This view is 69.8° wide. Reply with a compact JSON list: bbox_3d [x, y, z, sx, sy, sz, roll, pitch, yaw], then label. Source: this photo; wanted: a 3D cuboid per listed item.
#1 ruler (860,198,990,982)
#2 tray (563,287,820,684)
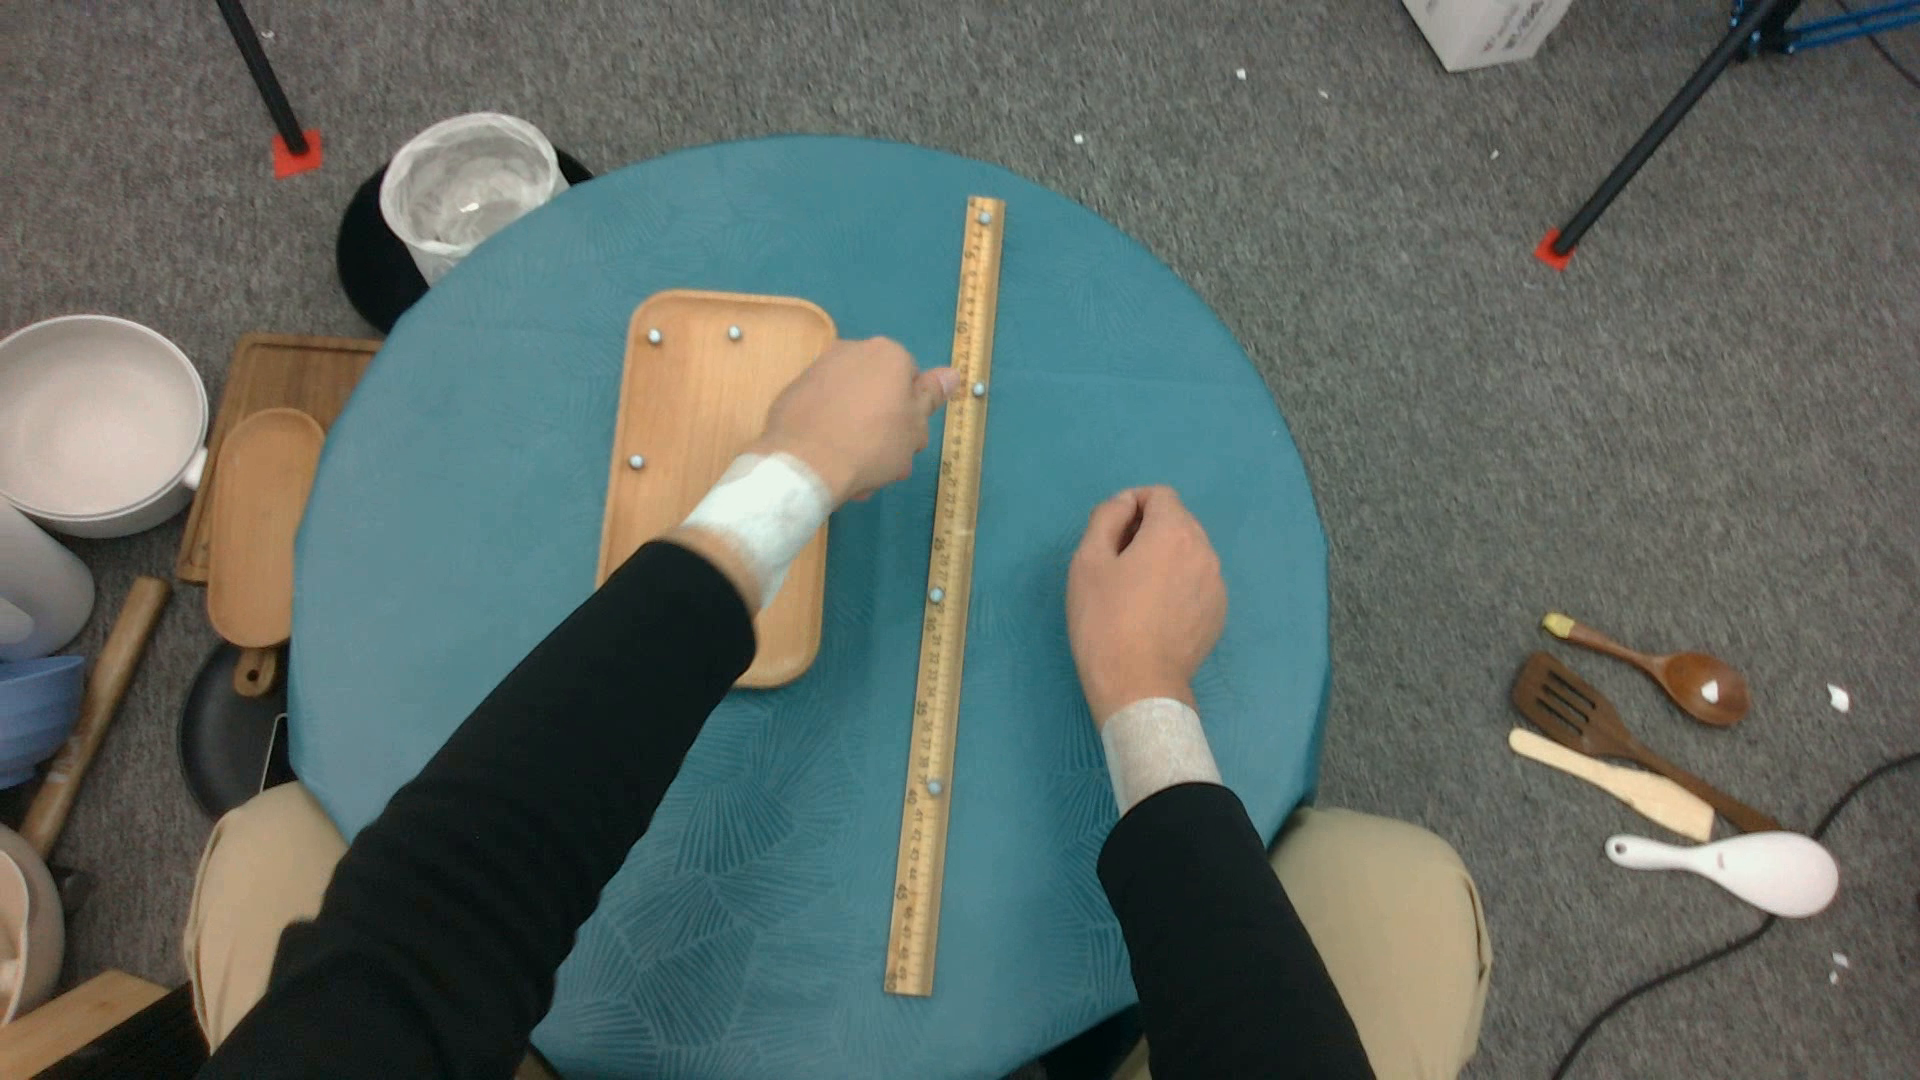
[{"bbox_3d":[-0.016,0.000,0.814,0.027,0.006,0.502,7,66,-1],"label":"ruler"},{"bbox_3d":[-0.153,-0.037,0.809,0.130,0.023,0.251,4,67,-3],"label":"tray"}]
